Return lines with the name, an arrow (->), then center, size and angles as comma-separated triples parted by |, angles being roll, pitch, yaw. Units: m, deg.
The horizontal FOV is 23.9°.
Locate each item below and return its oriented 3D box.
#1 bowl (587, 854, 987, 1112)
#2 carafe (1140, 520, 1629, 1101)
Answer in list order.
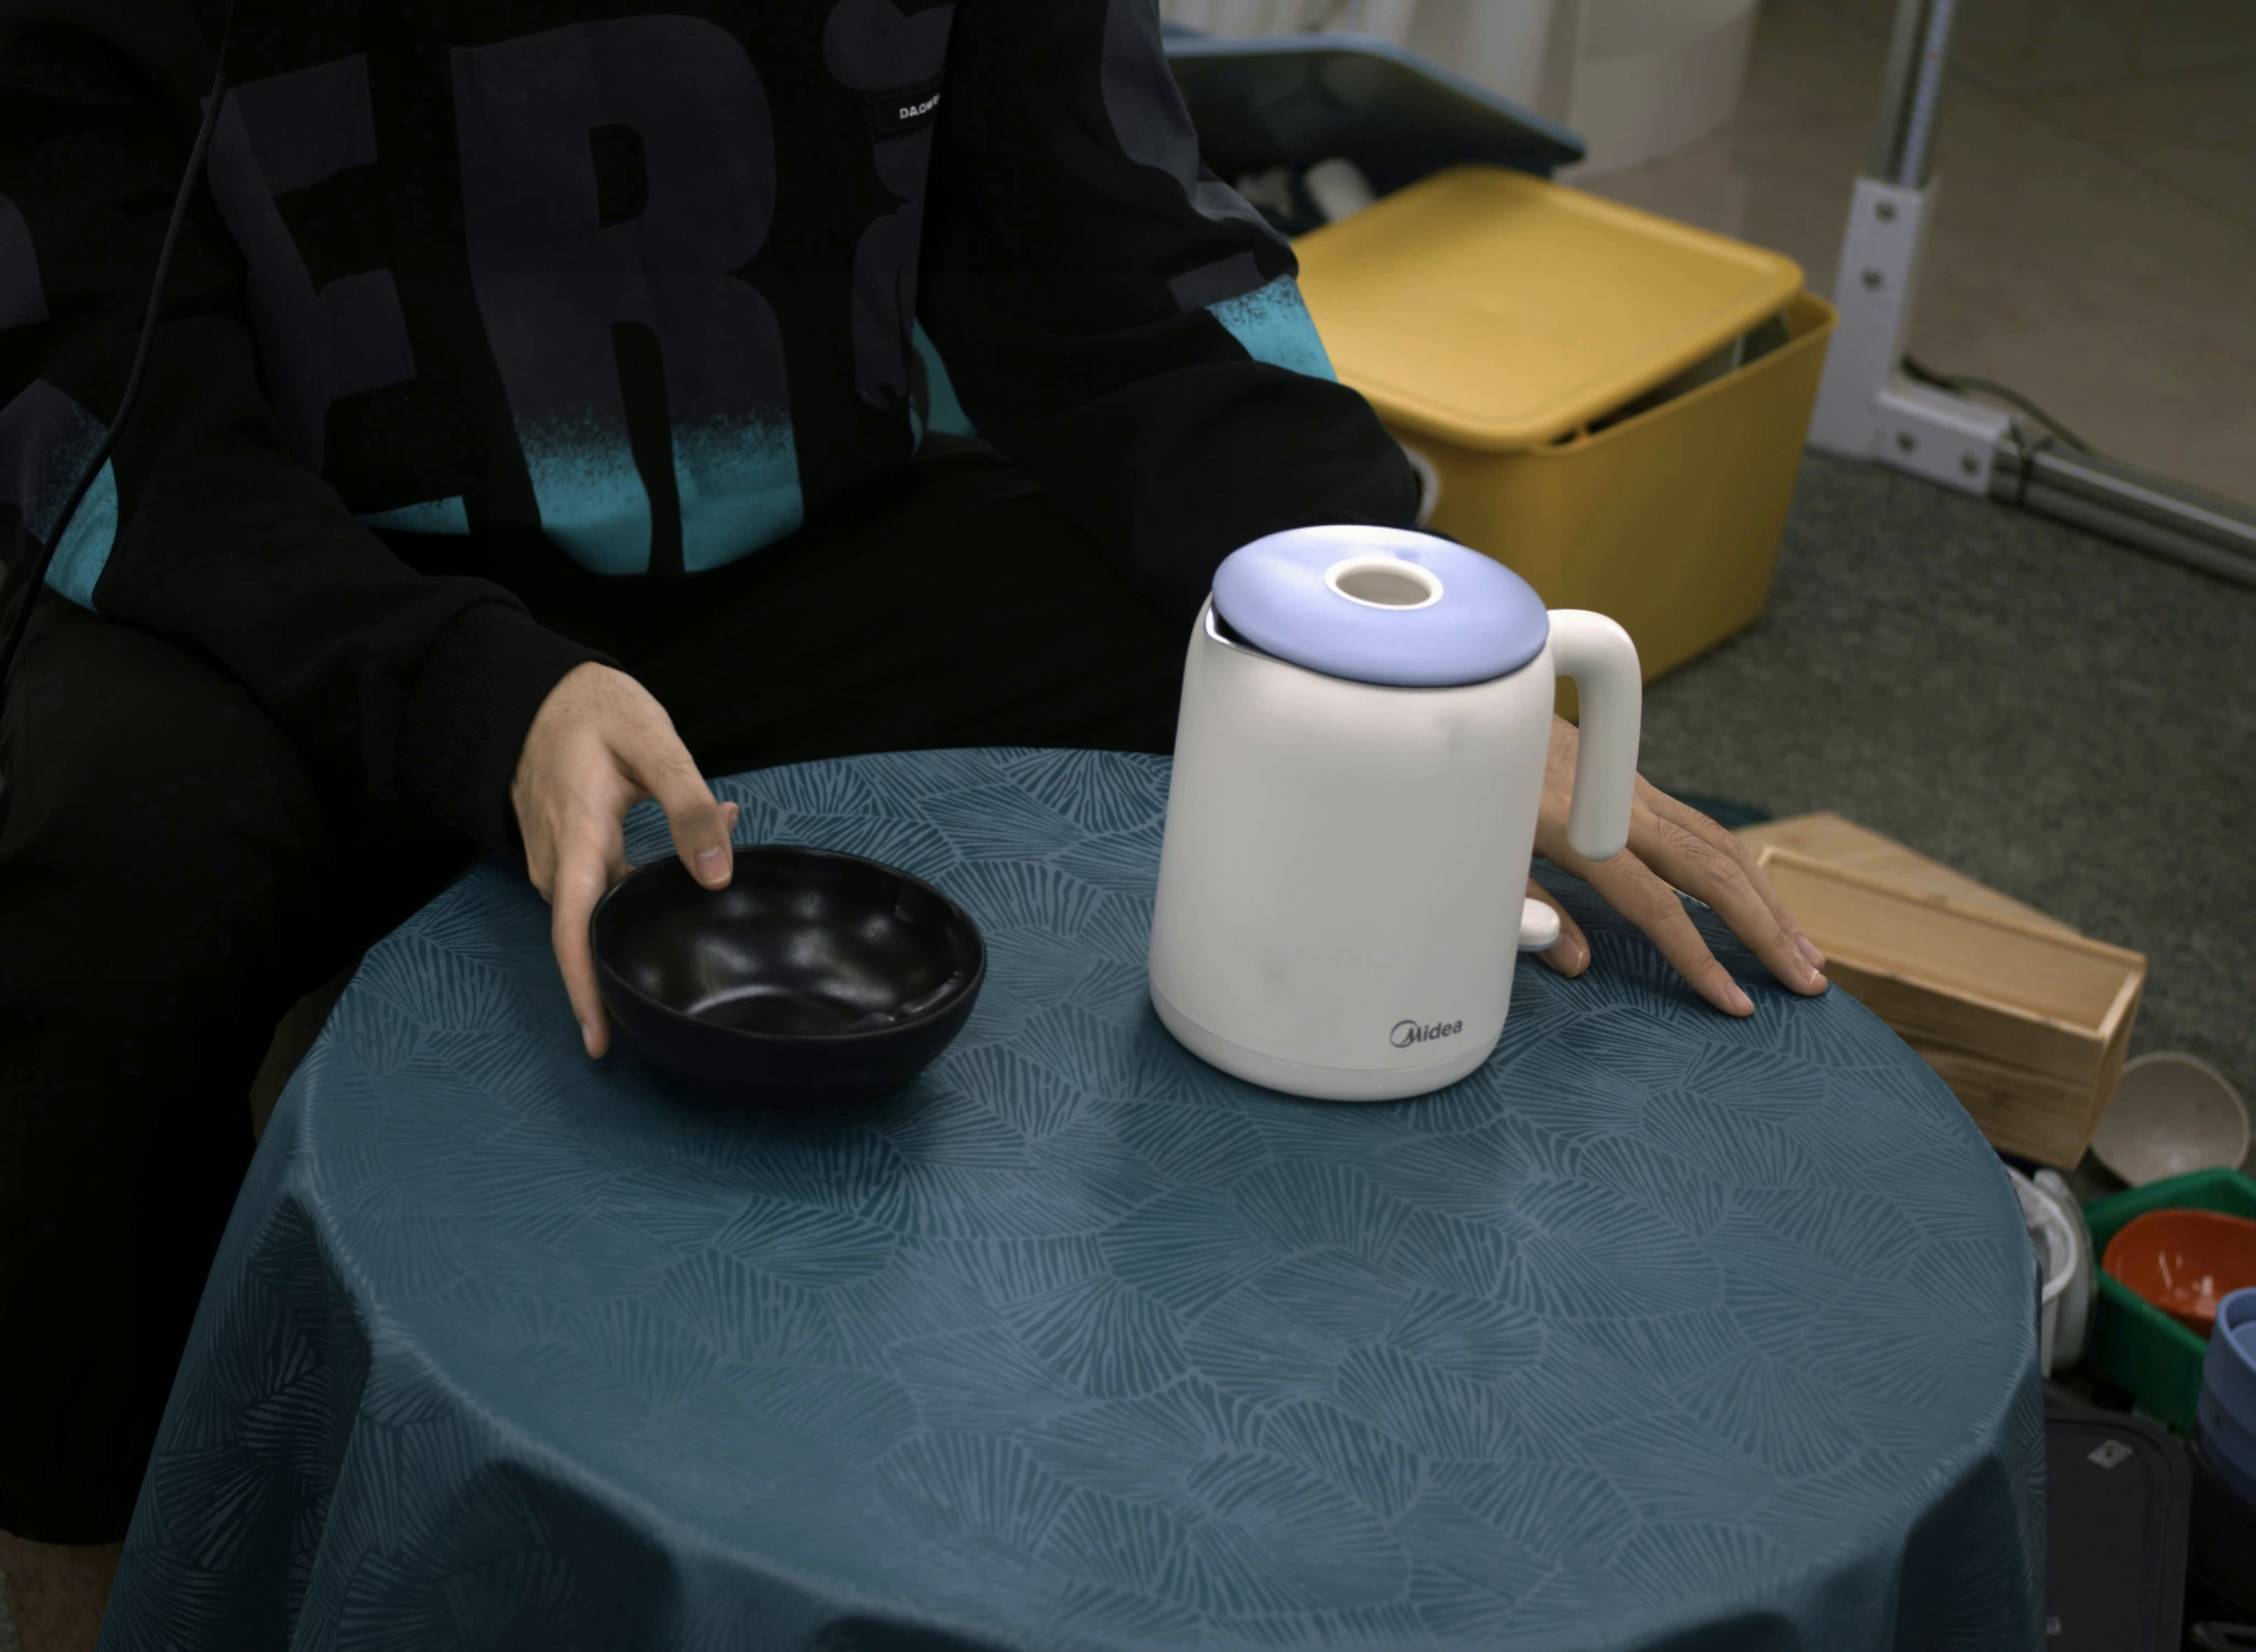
bowl -> -0.119, 0.061, 1.843 | 0.139, 0.049, 0.141 | 5, 25, -3
carafe -> 0.099, -0.009, 1.894 | 0.190, 0.182, 0.133 | -7, 31, -30
